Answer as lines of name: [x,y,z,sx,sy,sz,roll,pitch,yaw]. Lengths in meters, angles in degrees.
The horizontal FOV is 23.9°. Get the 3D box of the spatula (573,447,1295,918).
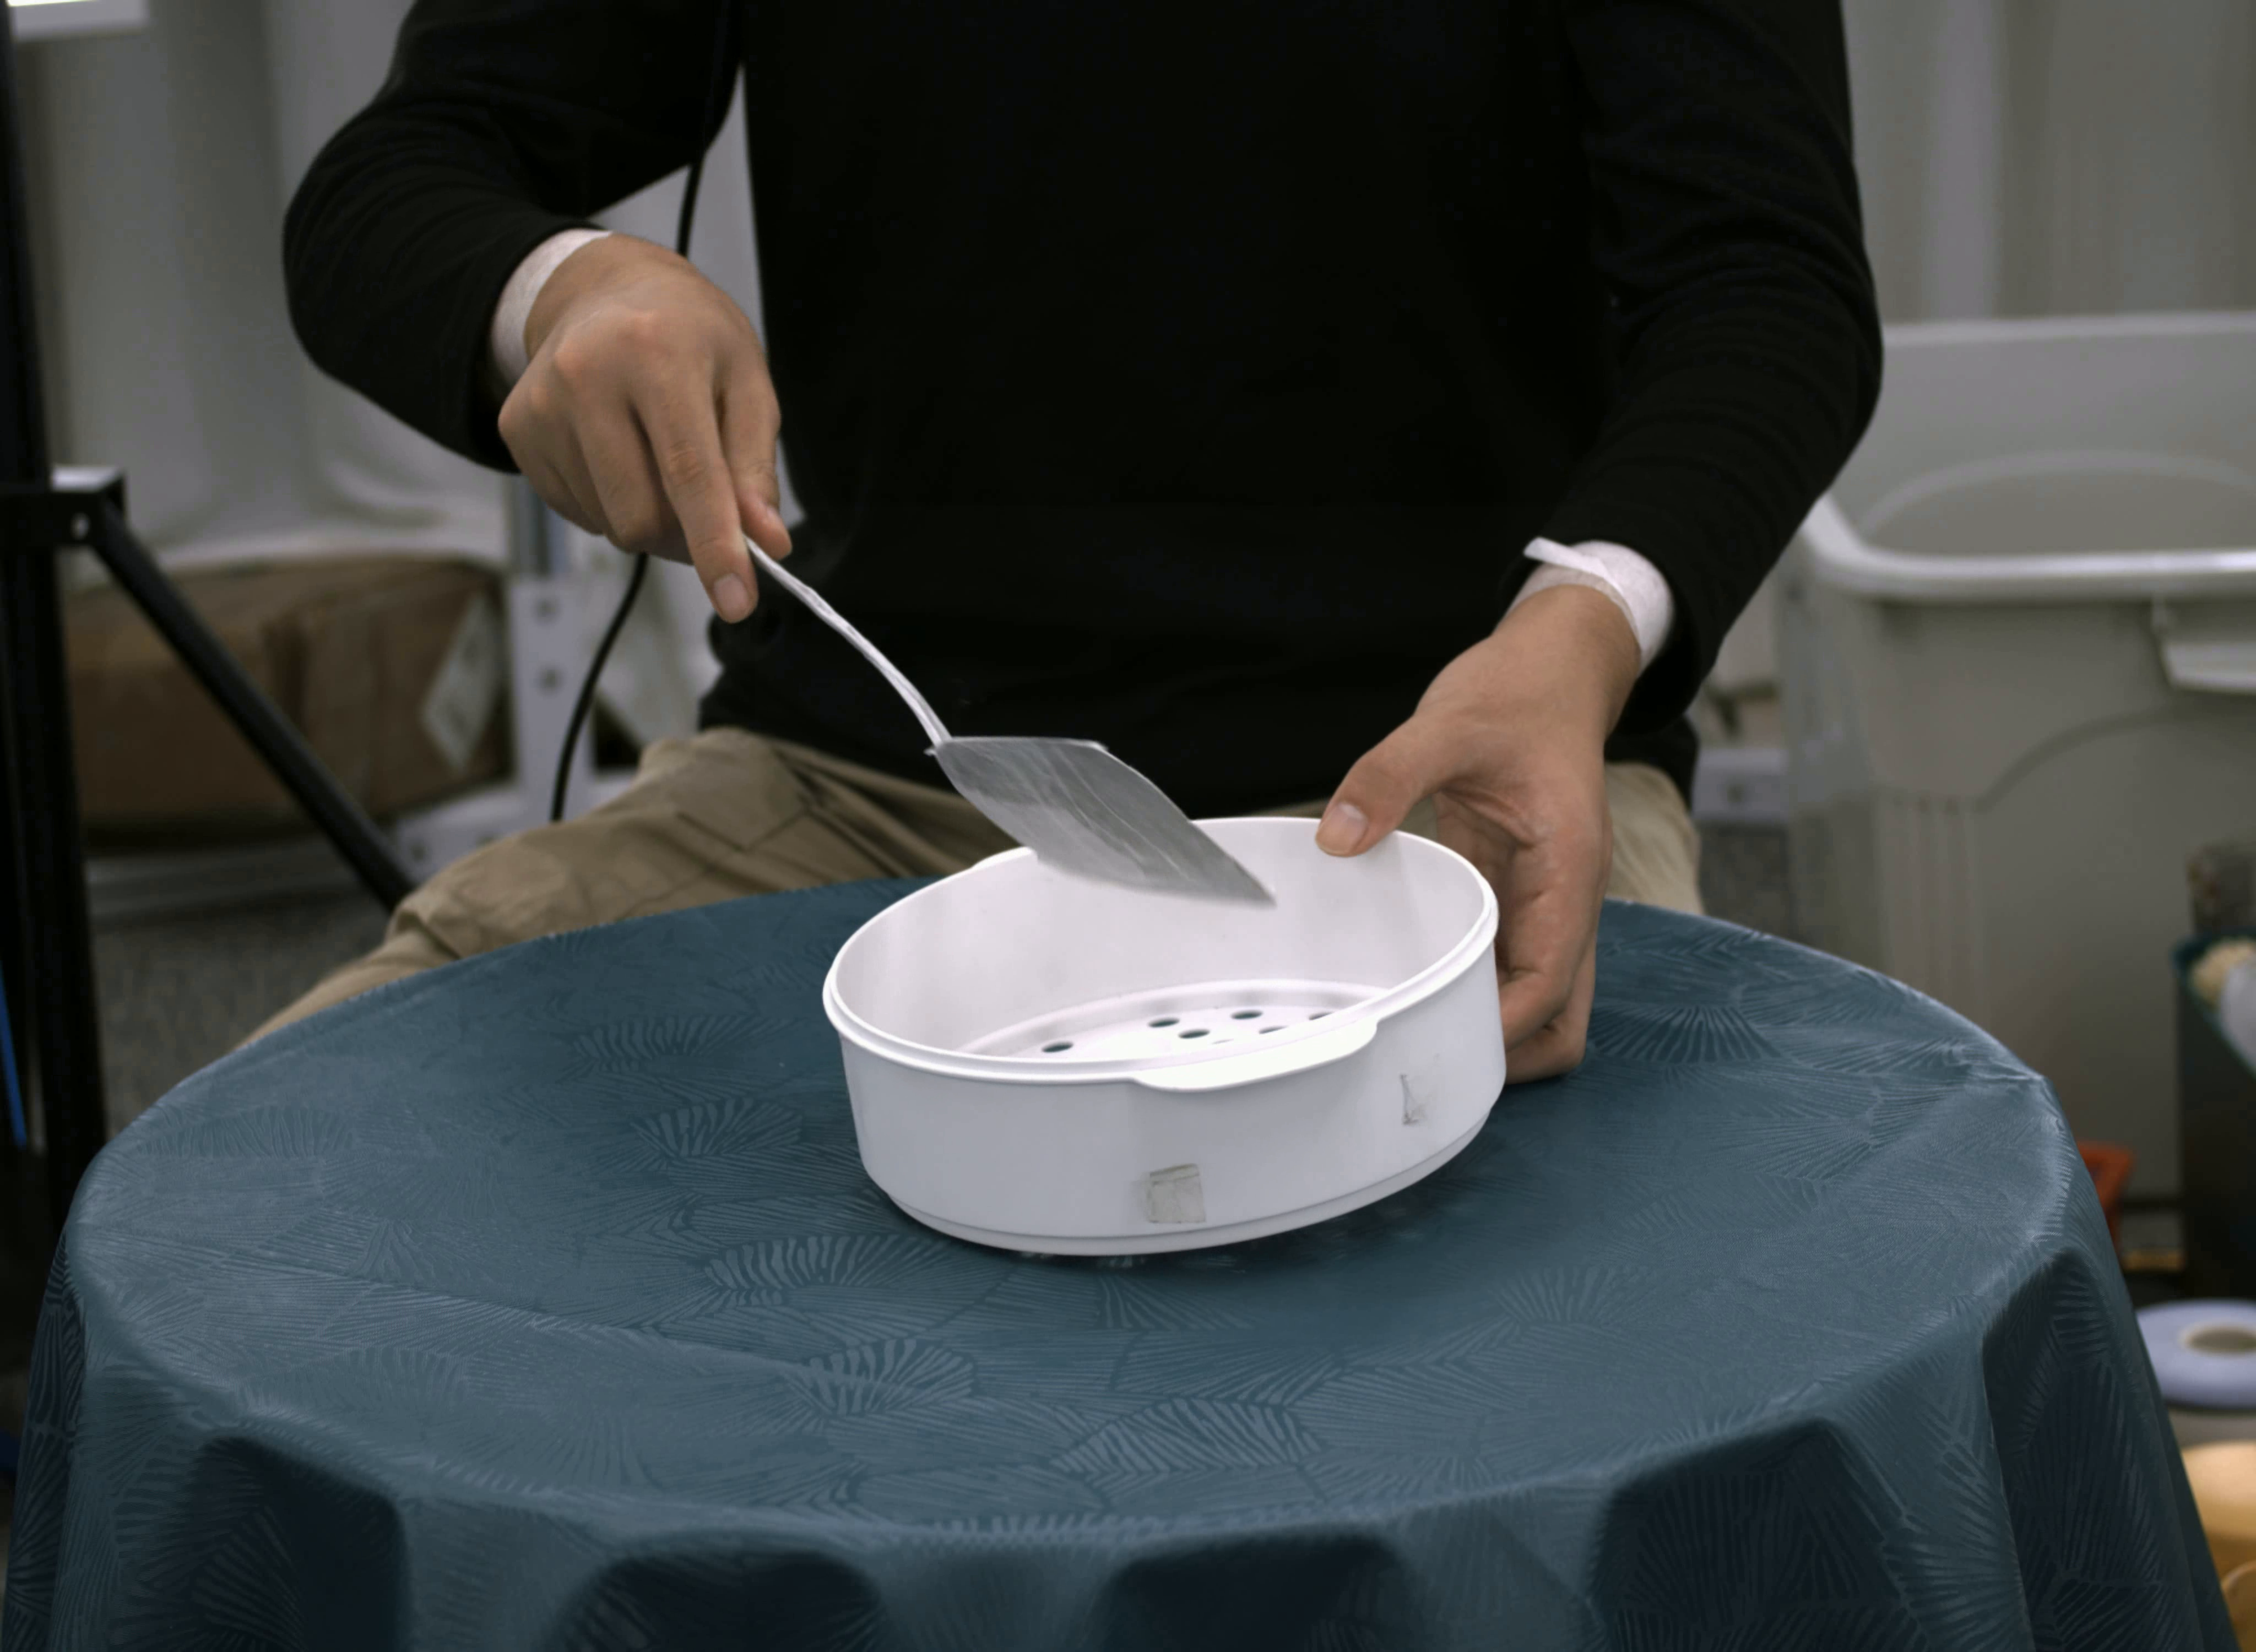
spatula: [-0.078,-0.058,1.642,0.096,0.045,0.373,43,-2,-43]

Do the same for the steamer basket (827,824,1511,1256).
steamer basket: [0.015,0.063,1.562,0.199,0.069,0.234,-11,18,-11]
